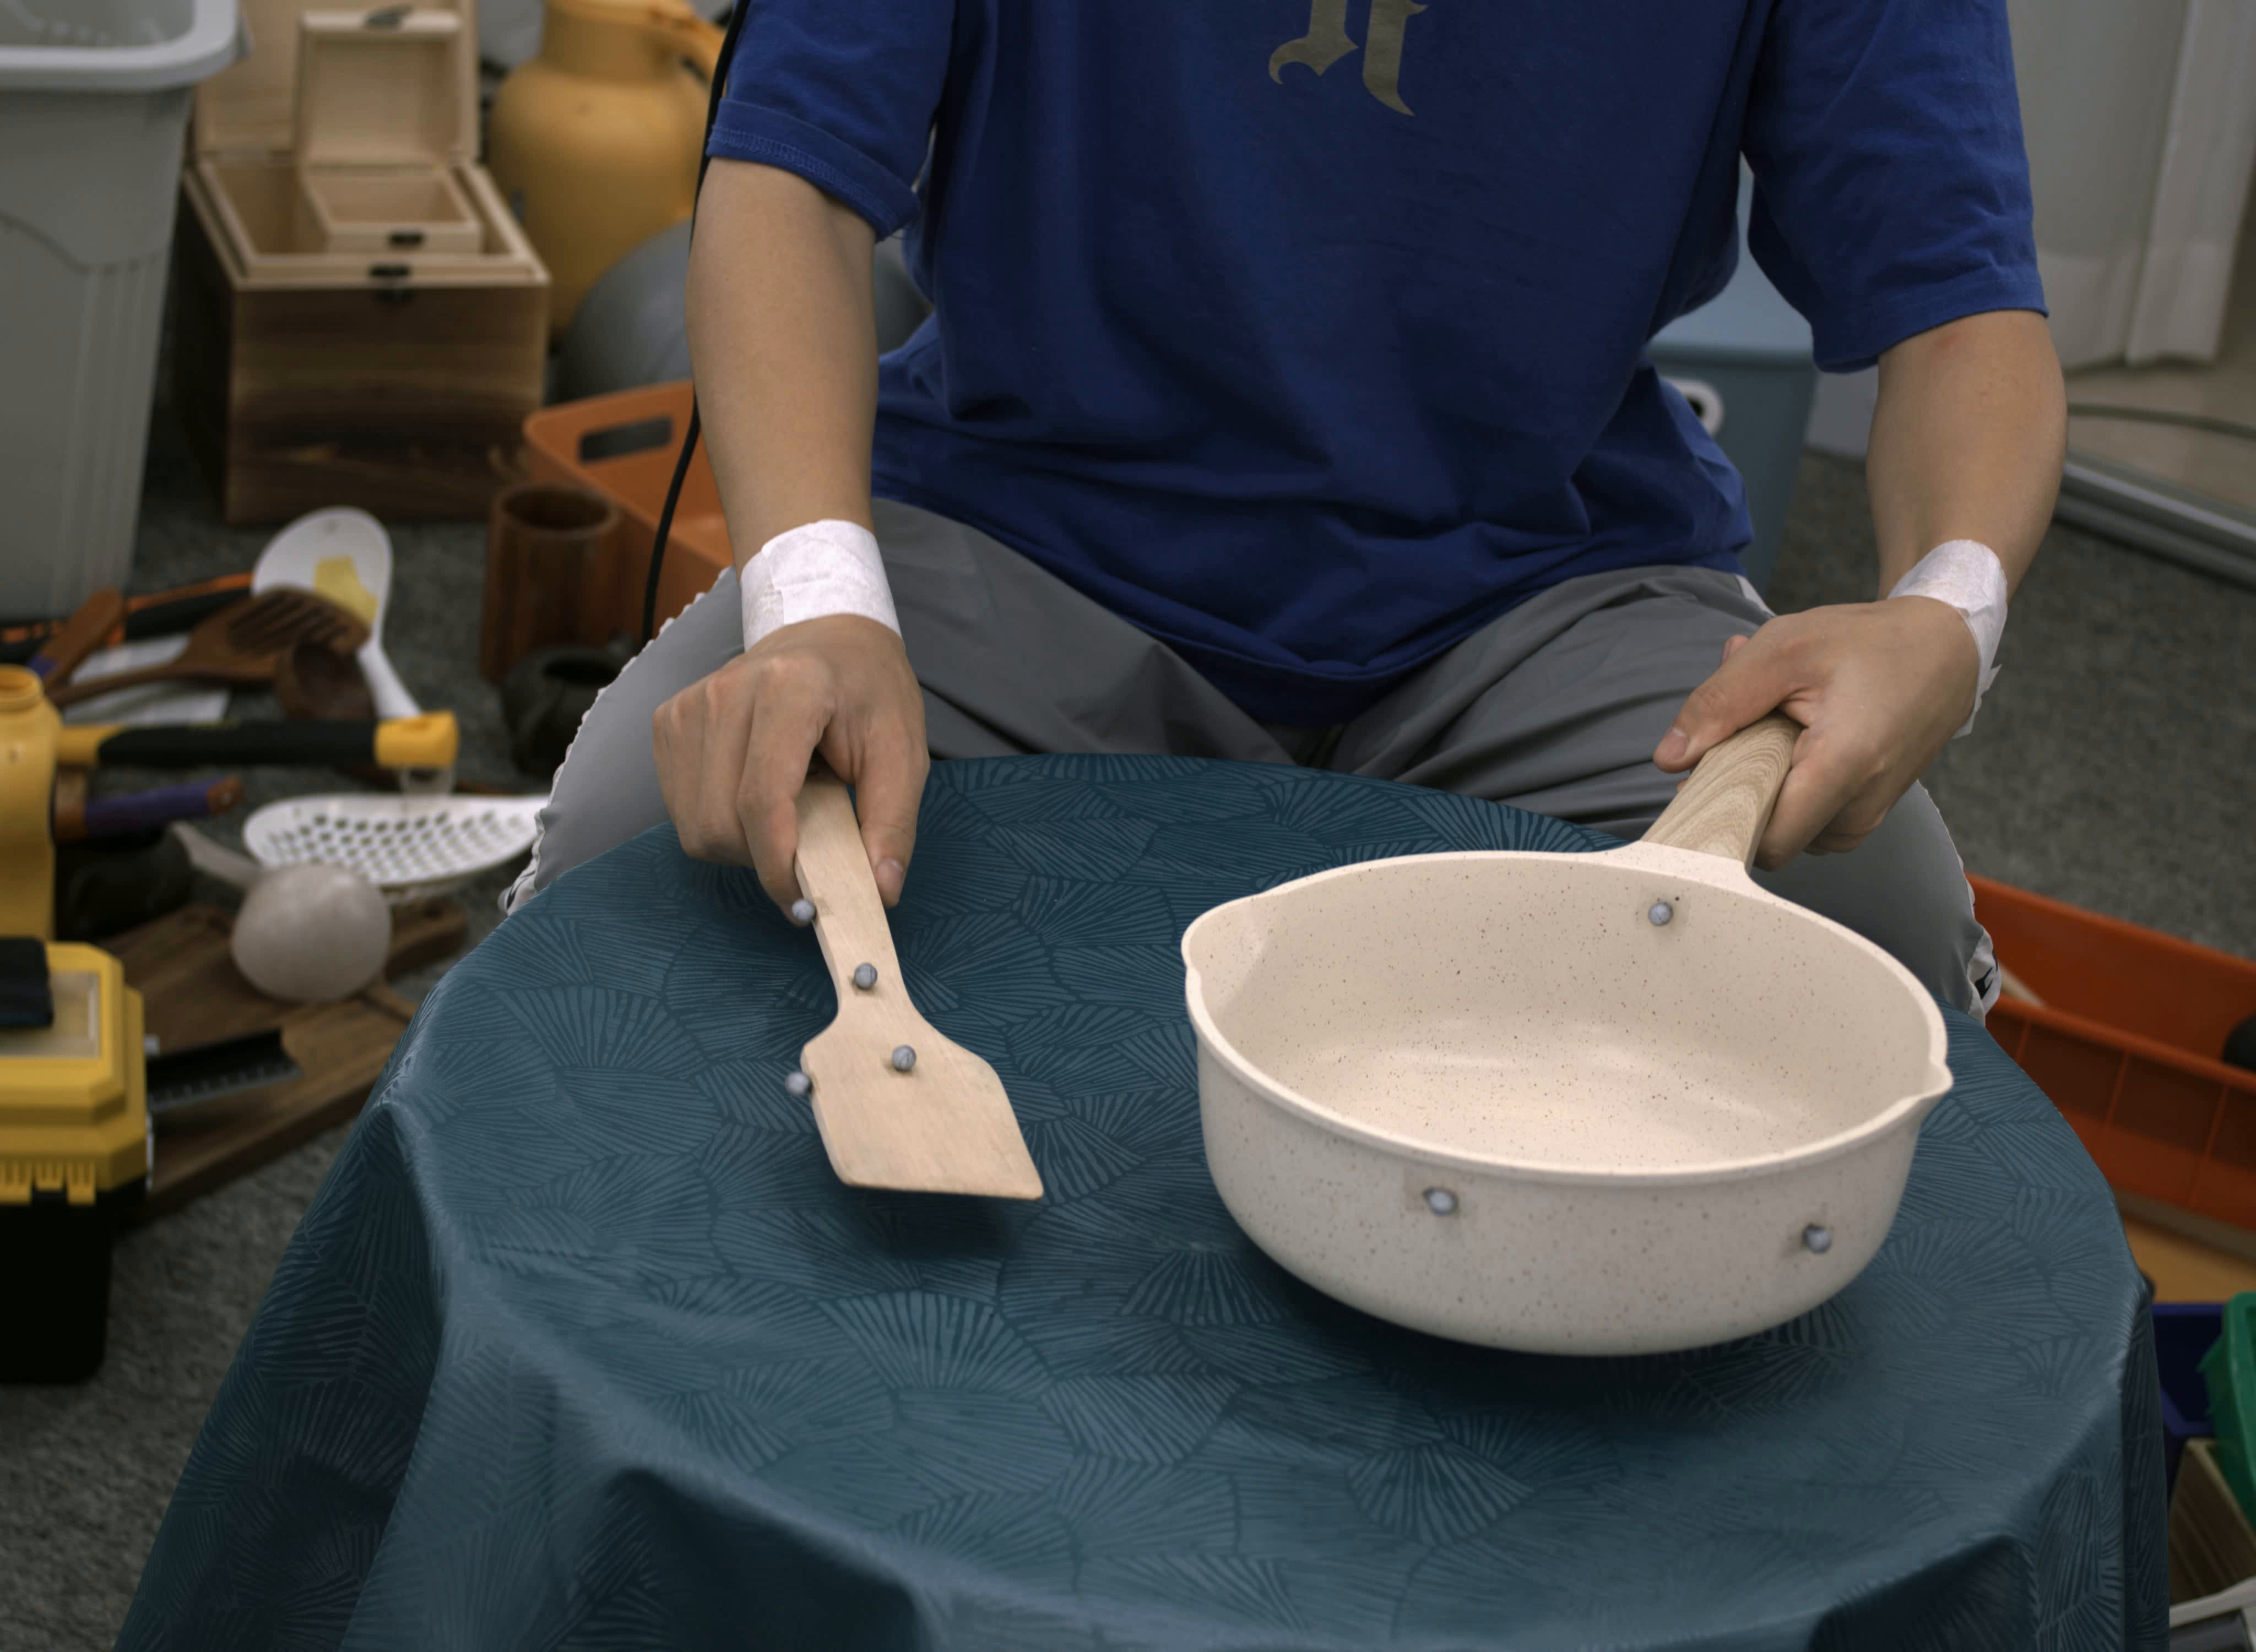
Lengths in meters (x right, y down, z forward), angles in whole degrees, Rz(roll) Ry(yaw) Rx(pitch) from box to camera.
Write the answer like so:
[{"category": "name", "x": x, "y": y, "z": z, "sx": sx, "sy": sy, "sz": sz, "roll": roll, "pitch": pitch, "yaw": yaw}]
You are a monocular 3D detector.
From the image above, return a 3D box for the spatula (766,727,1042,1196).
[{"category": "spatula", "x": -0.093, "y": 0.043, "z": 1.861, "sx": 0.072, "sy": 0.010, "sz": 0.295, "roll": 5, "pitch": 30, "yaw": -18}]

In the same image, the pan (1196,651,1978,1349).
[{"category": "pan", "x": 0.181, "y": 0.055, "z": 1.839, "sx": 0.264, "sy": 0.102, "sz": 0.435, "roll": 9, "pitch": 23, "yaw": 19}]
